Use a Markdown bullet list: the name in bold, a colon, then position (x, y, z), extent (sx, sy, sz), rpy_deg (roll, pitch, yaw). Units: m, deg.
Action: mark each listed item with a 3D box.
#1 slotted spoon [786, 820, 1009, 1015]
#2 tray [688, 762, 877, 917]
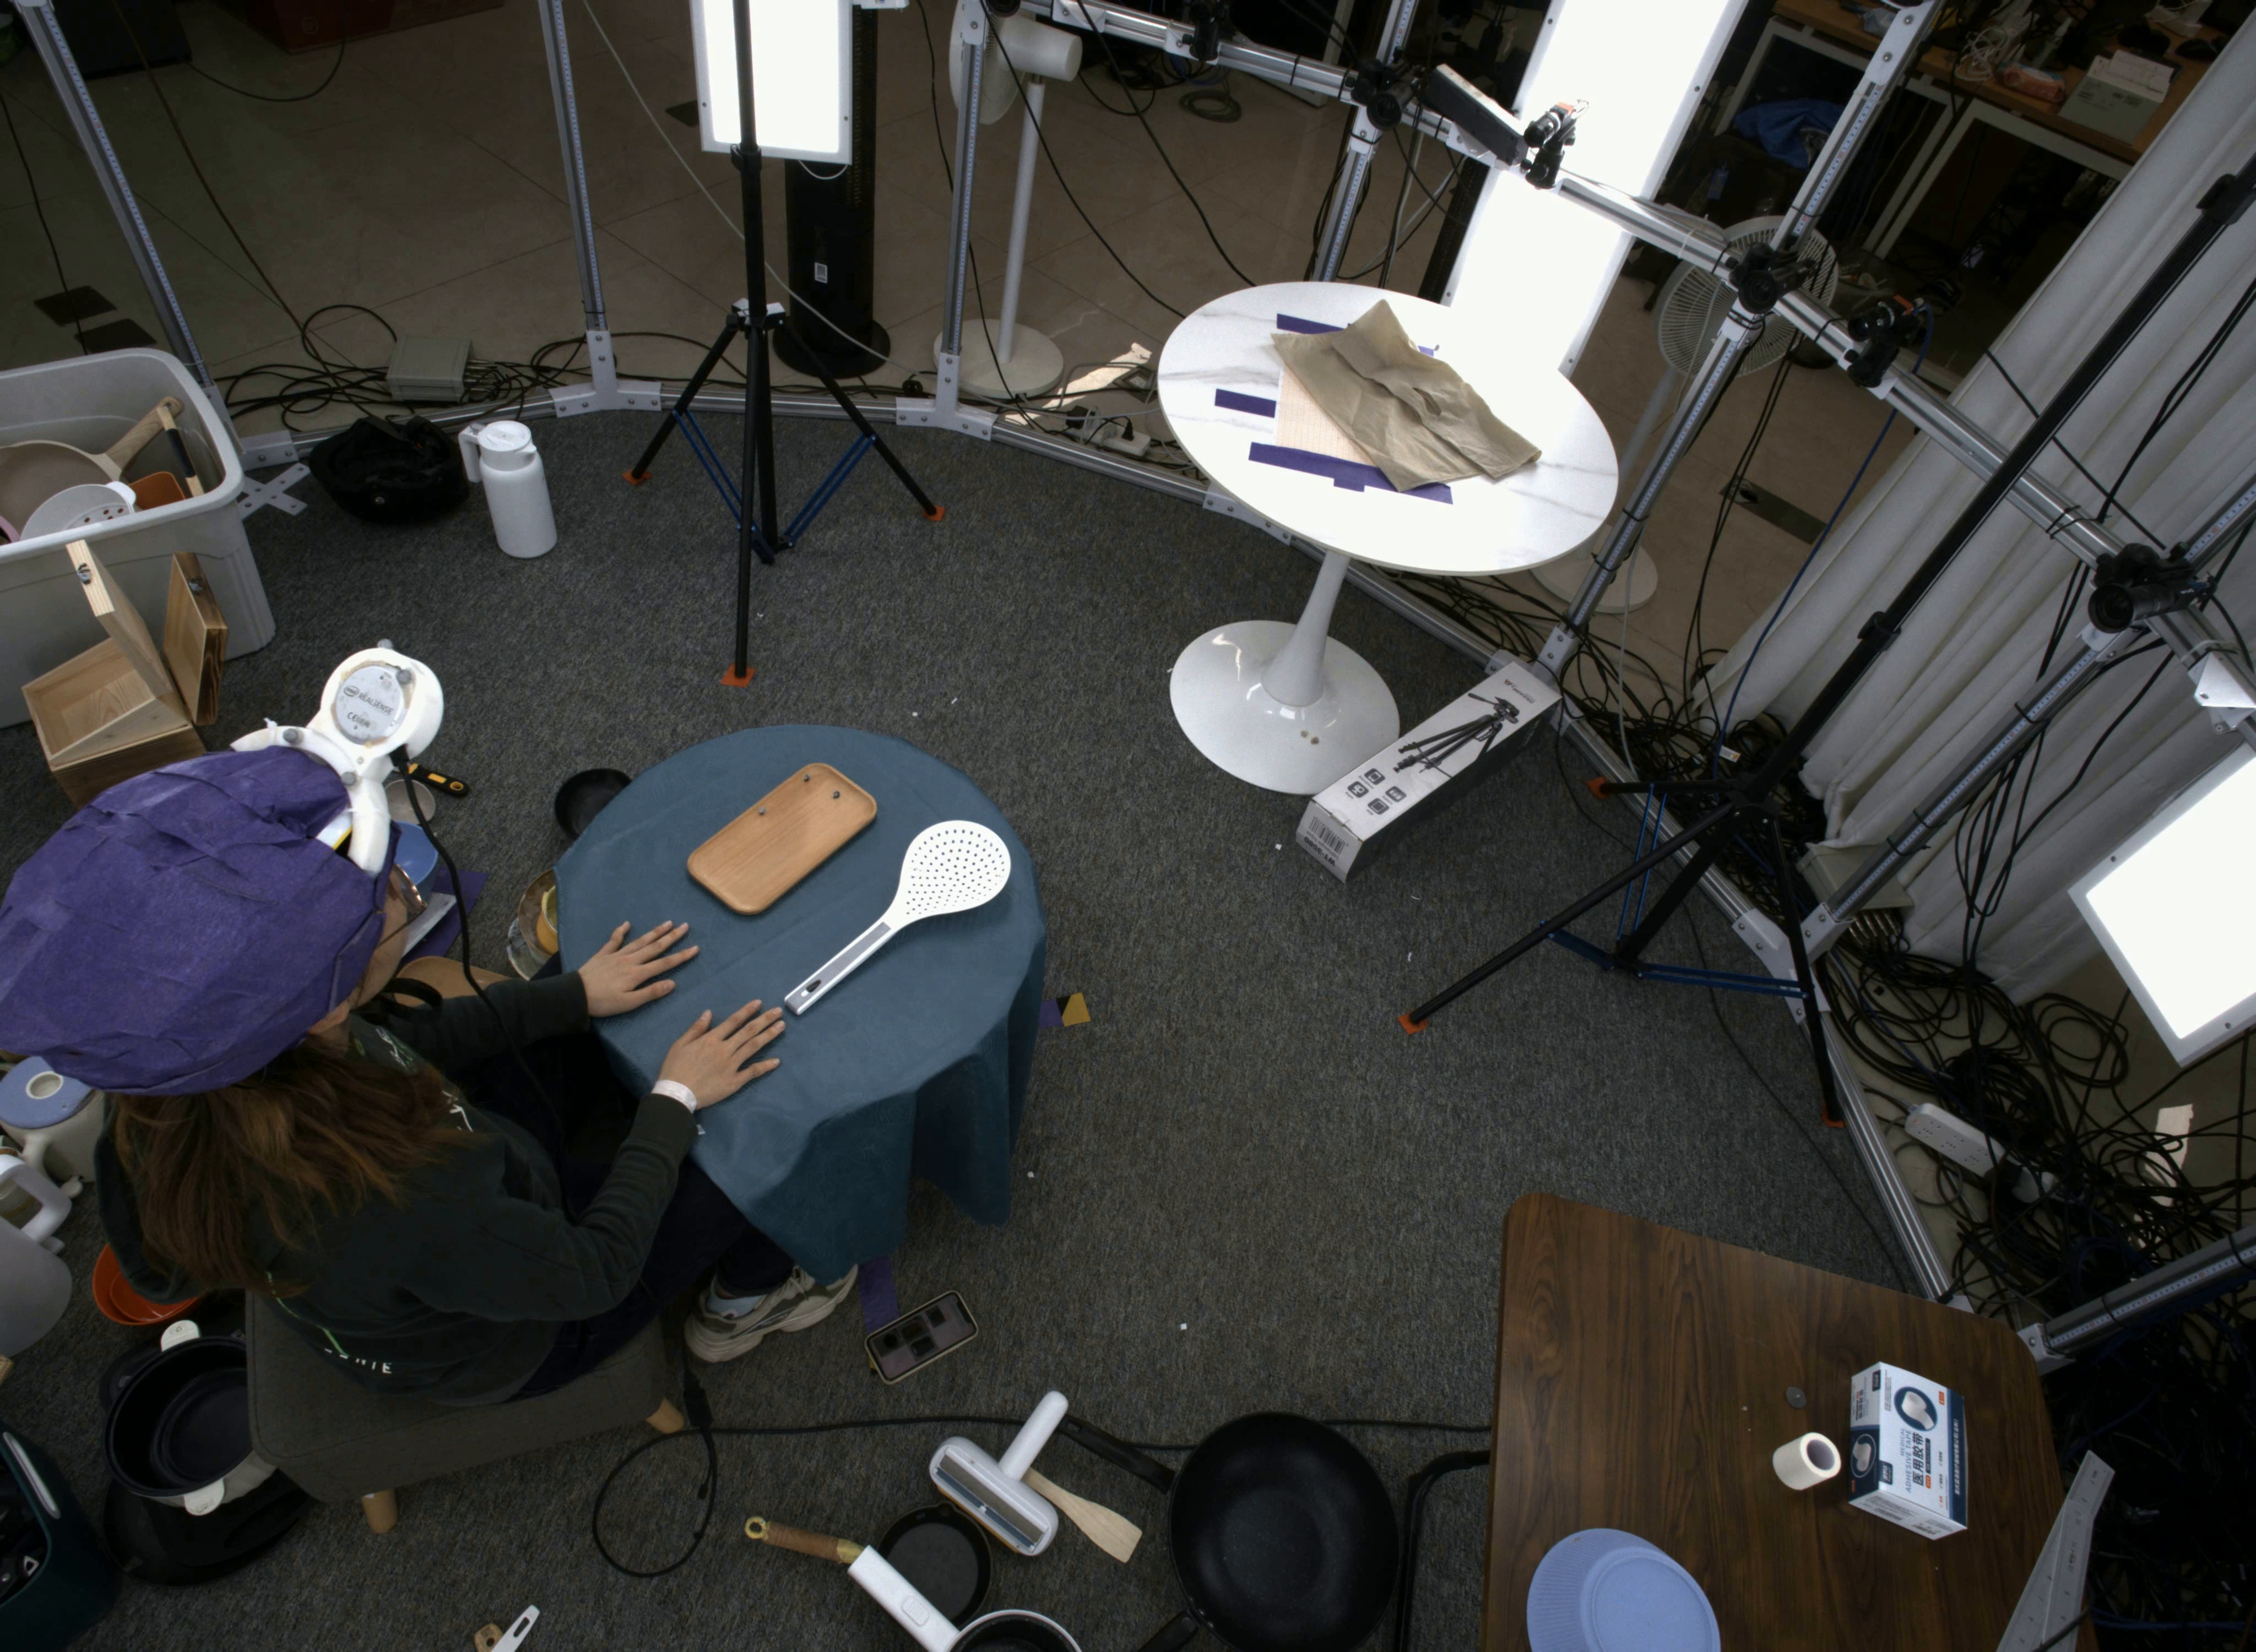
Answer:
- **slotted spoon**: position (-0.292, 0.115, 1.648), extent (0.133, 0.047, 0.350), rpy_deg (38, 55, 17)
- **tray**: position (-0.451, 0.014, 1.701), extent (0.128, 0.023, 0.250), rpy_deg (35, 54, 14)
